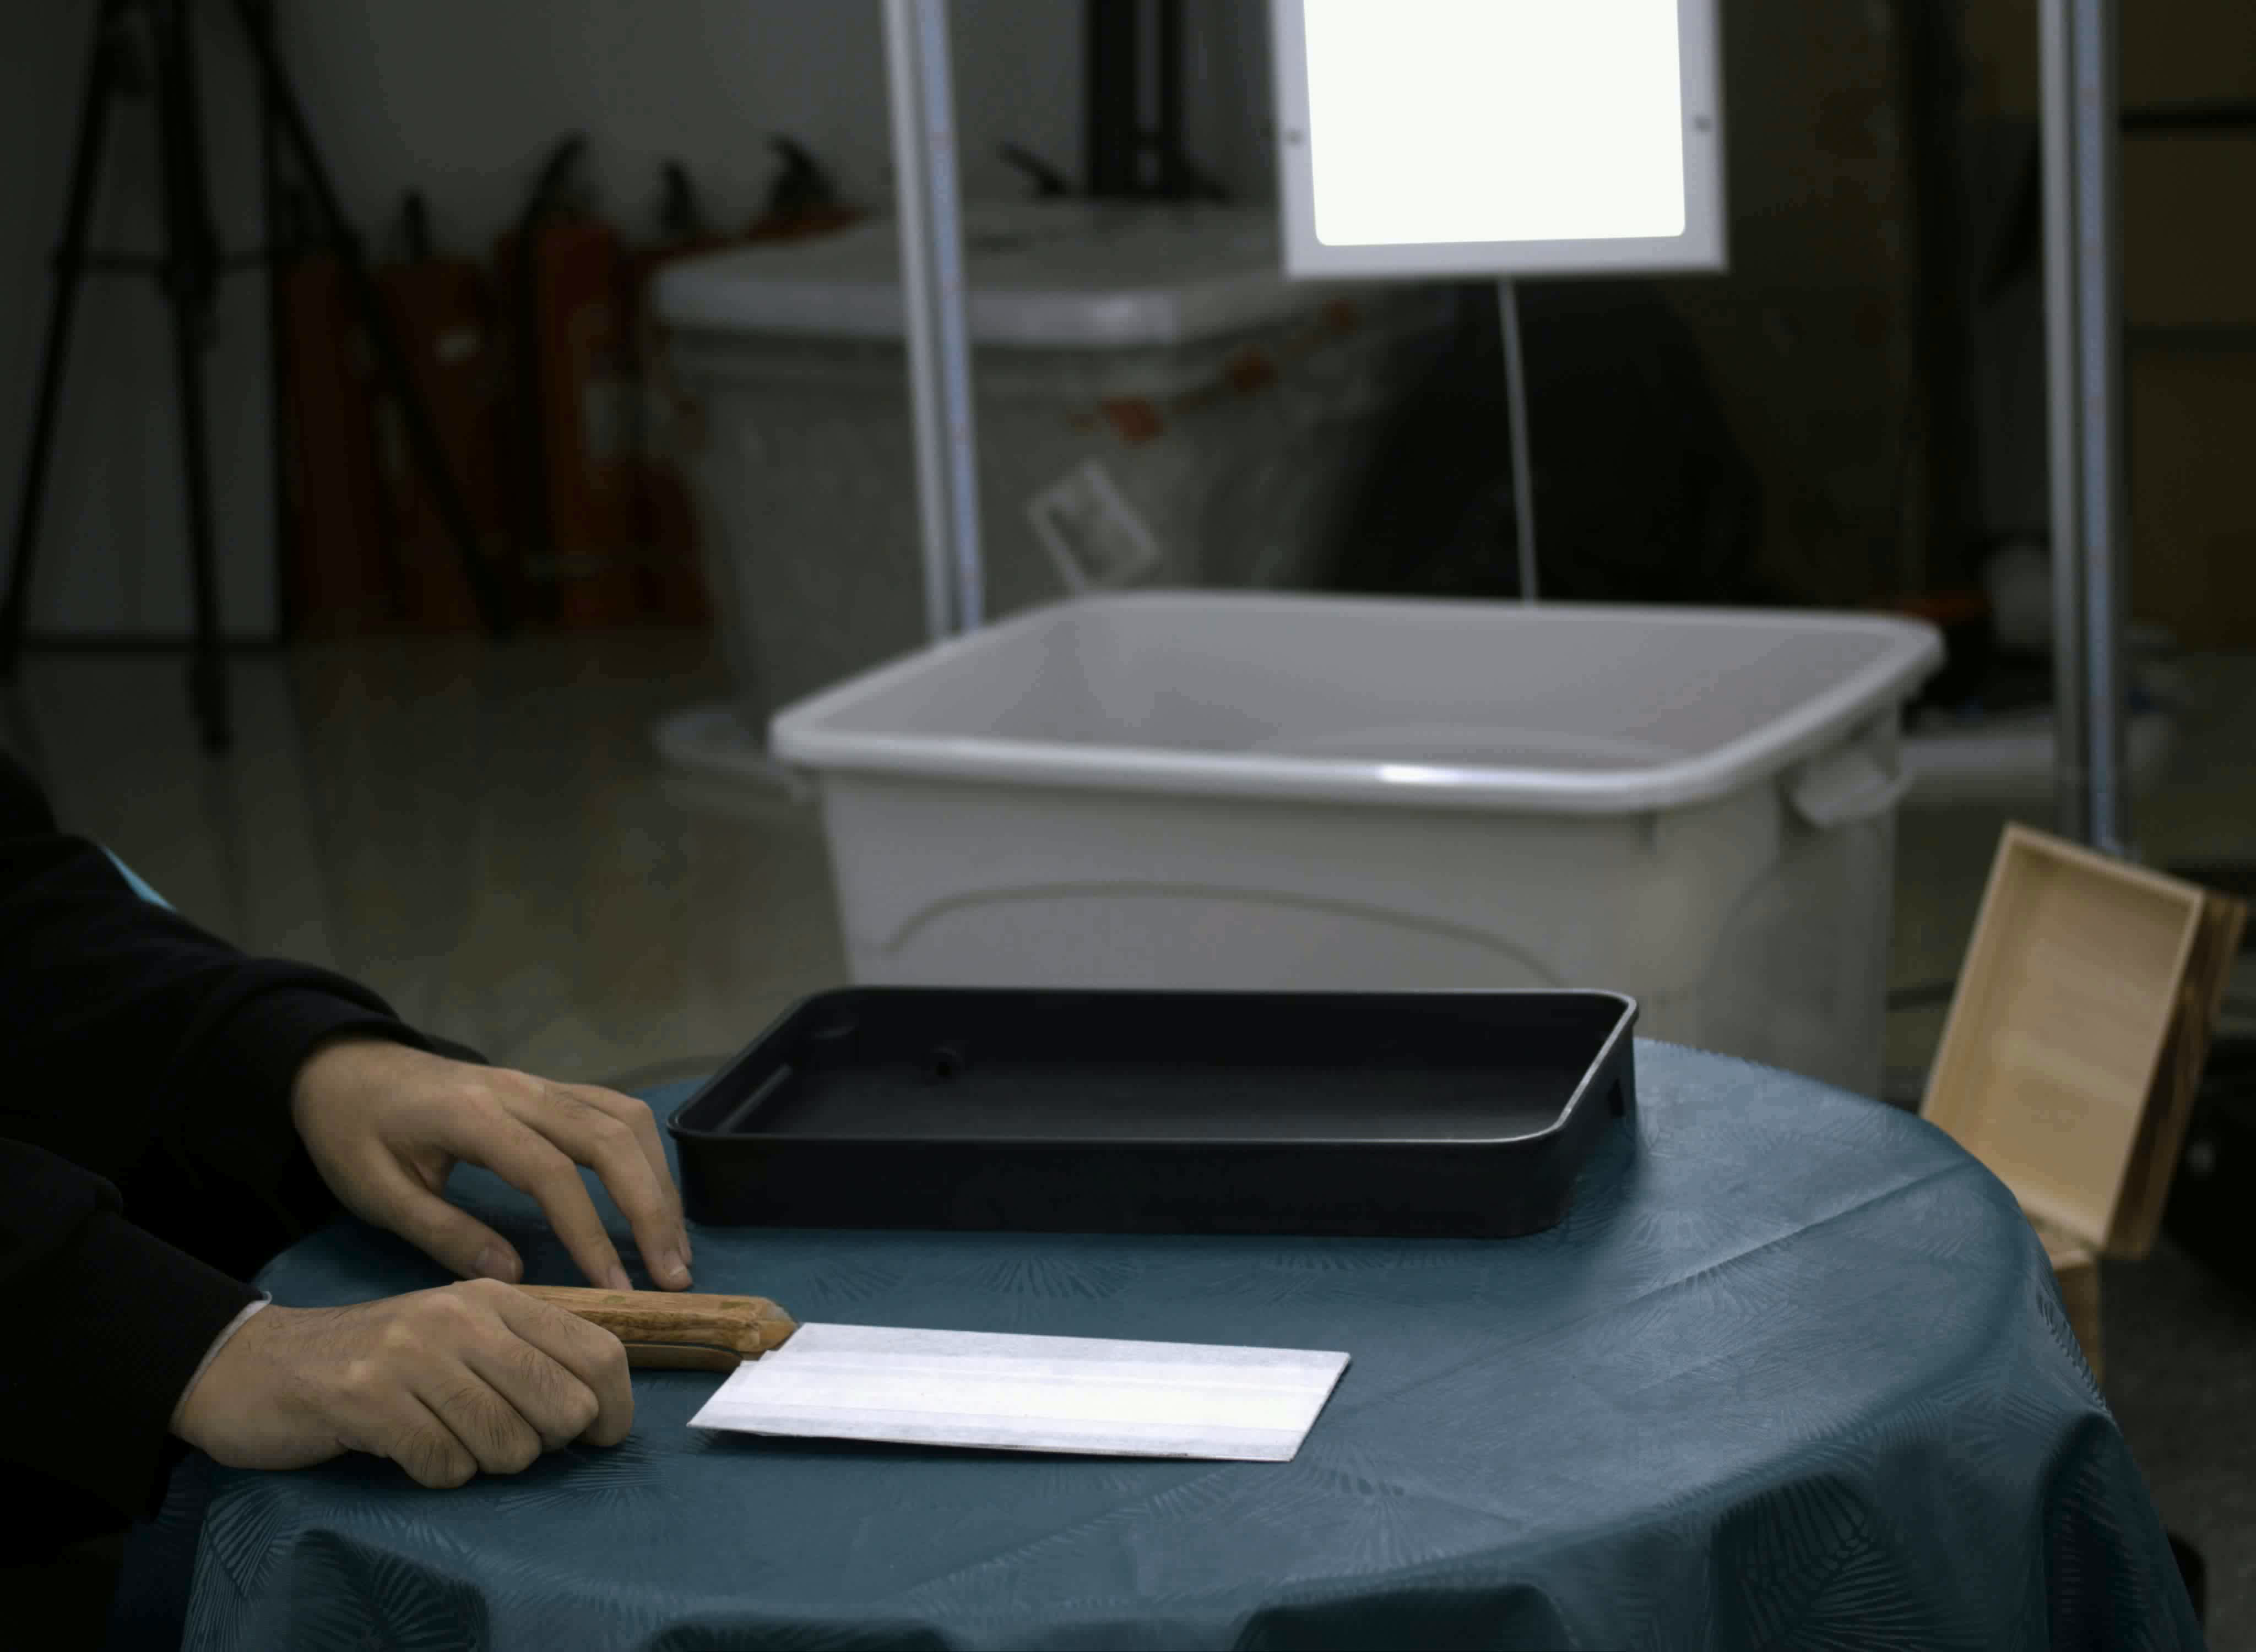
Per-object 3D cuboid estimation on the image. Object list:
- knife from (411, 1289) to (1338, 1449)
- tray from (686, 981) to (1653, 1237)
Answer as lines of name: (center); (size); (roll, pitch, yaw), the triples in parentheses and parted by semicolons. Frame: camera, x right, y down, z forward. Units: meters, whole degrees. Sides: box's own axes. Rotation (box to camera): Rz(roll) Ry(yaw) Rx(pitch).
knife: (-0.087, 0.172, 1.714); (0.309, 0.021, 0.091); (2, 17, 17)
tray: (0.018, 0.098, 1.931); (0.321, 0.037, 0.181); (-1, 15, 16)
